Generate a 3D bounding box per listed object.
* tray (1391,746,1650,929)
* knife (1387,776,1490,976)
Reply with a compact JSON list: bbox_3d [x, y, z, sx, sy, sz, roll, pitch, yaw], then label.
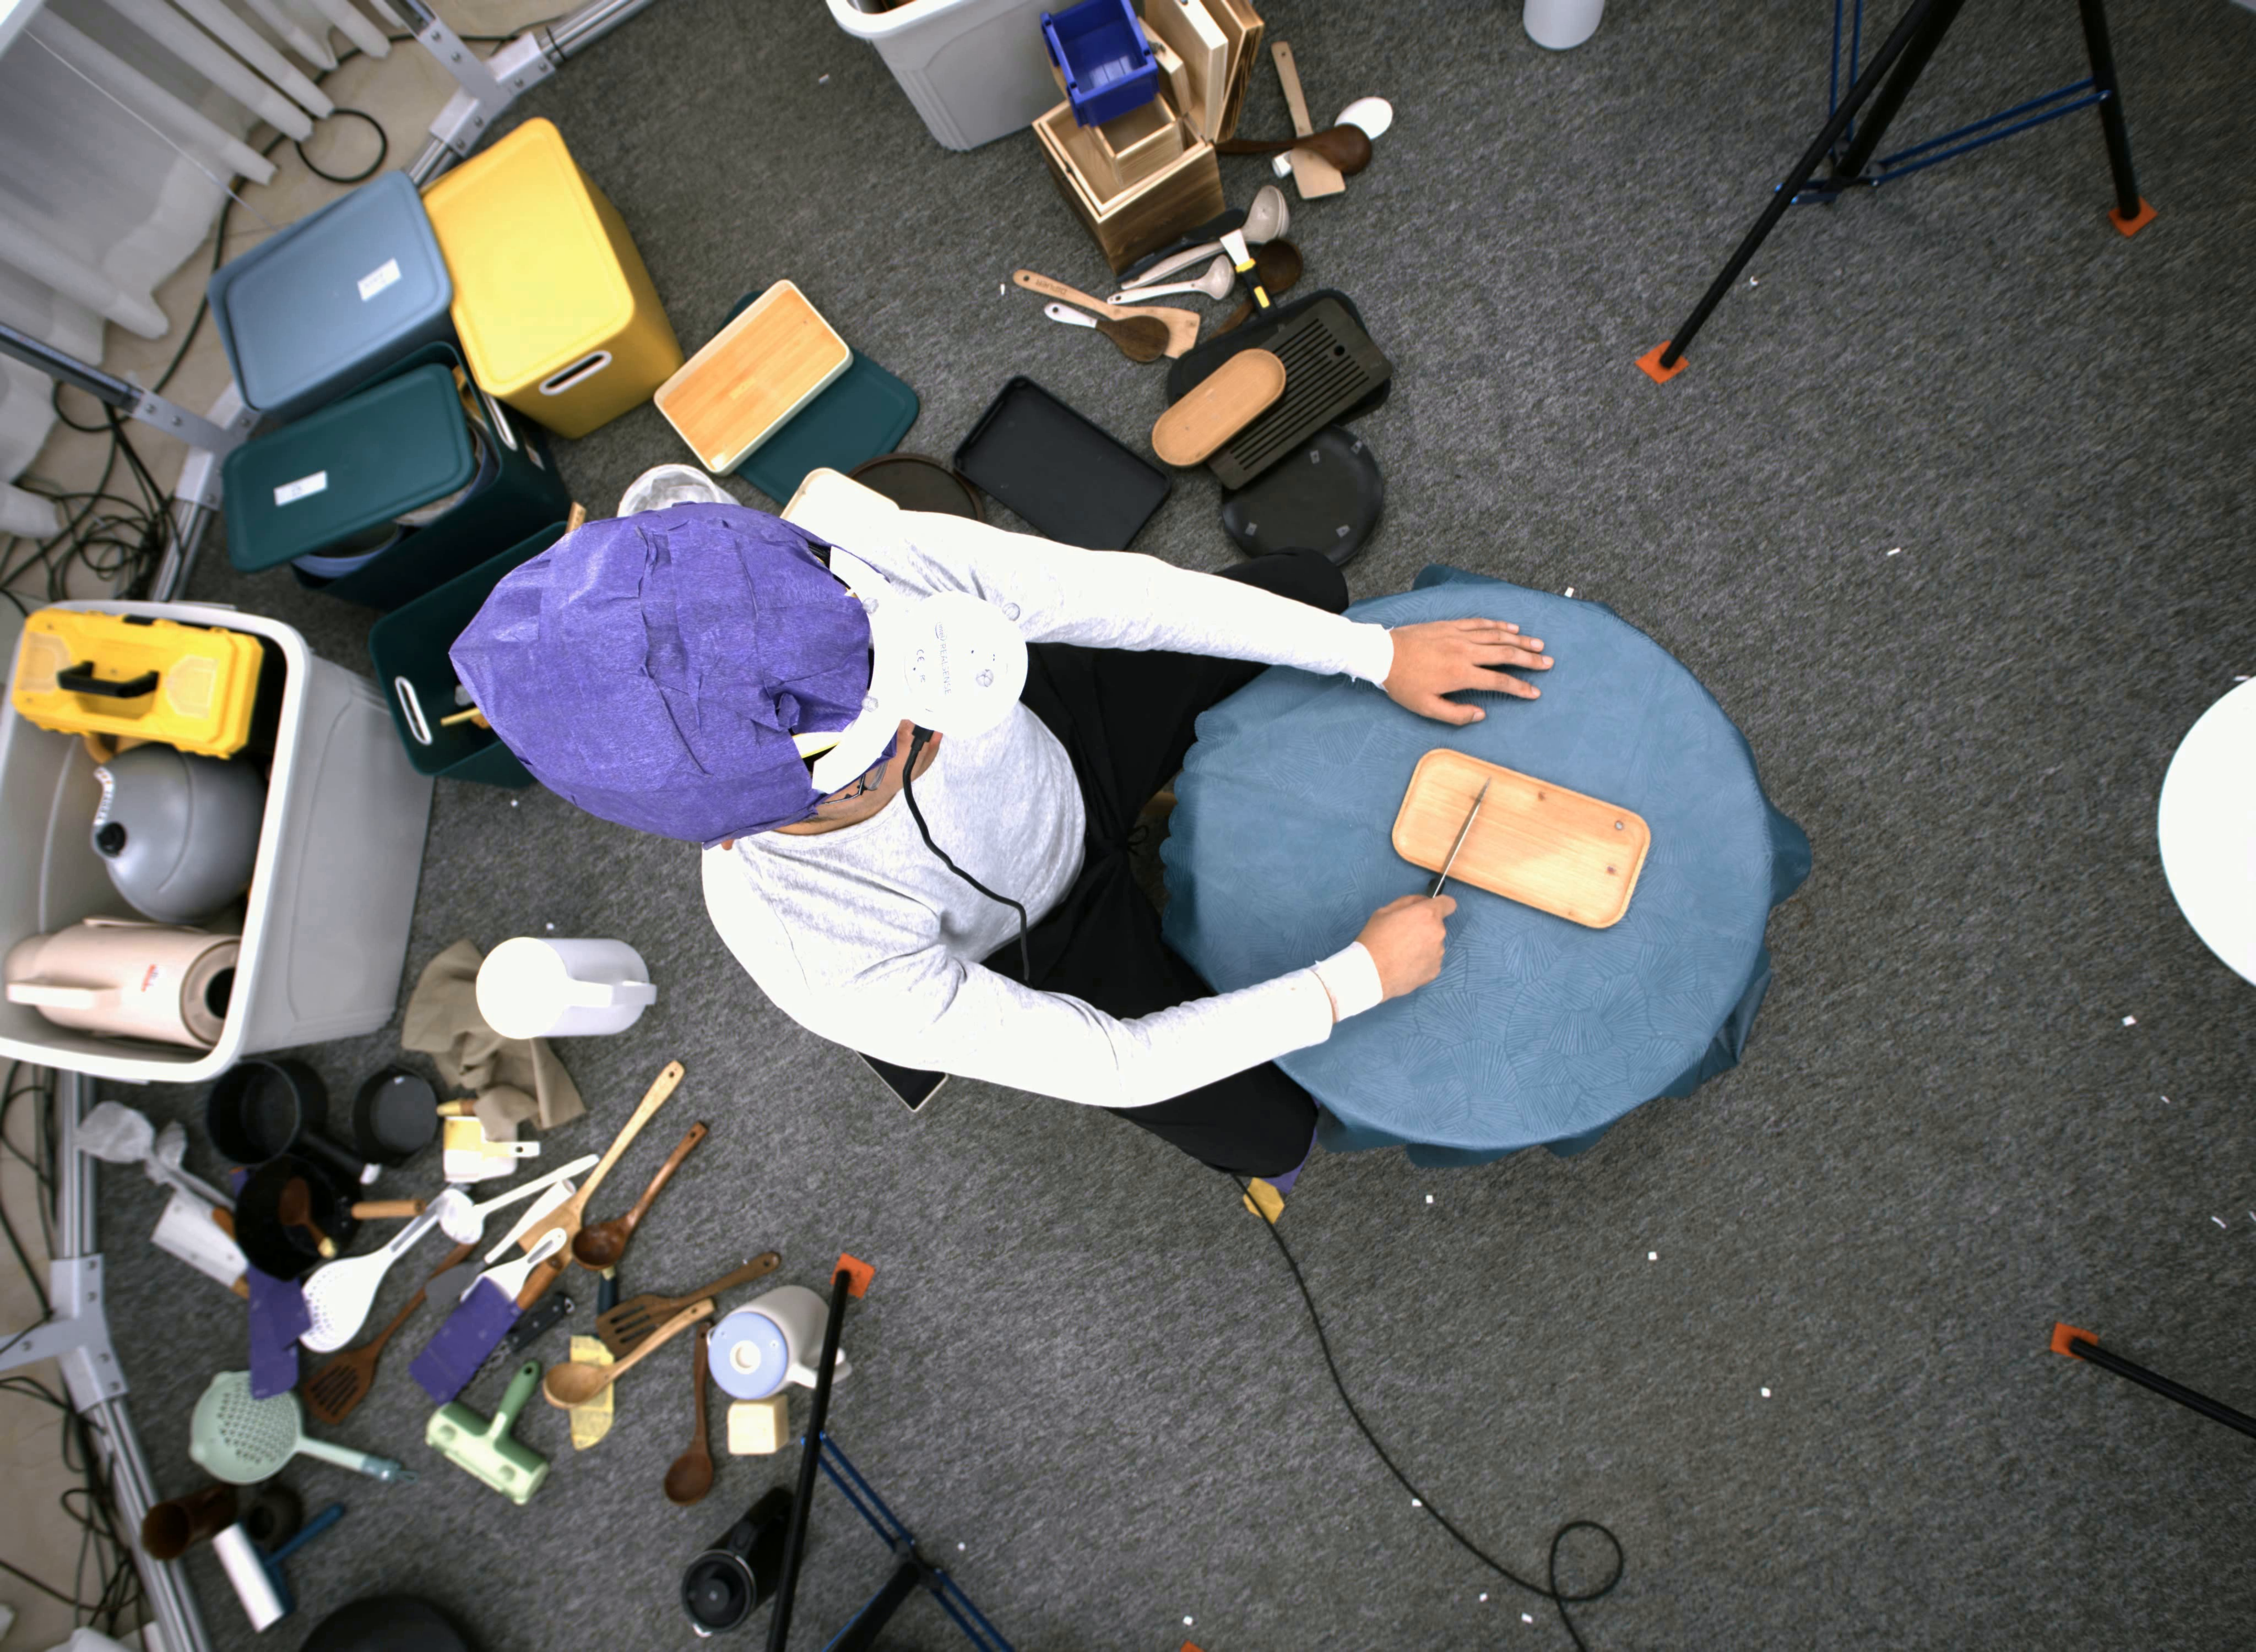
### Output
[{"bbox_3d":[0.406,0.009,1.430,0.250,0.023,0.130,21,88,12],"label":"tray"},{"bbox_3d":[0.325,0.047,1.421,0.016,0.024,0.236,29,82,-3],"label":"knife"}]
